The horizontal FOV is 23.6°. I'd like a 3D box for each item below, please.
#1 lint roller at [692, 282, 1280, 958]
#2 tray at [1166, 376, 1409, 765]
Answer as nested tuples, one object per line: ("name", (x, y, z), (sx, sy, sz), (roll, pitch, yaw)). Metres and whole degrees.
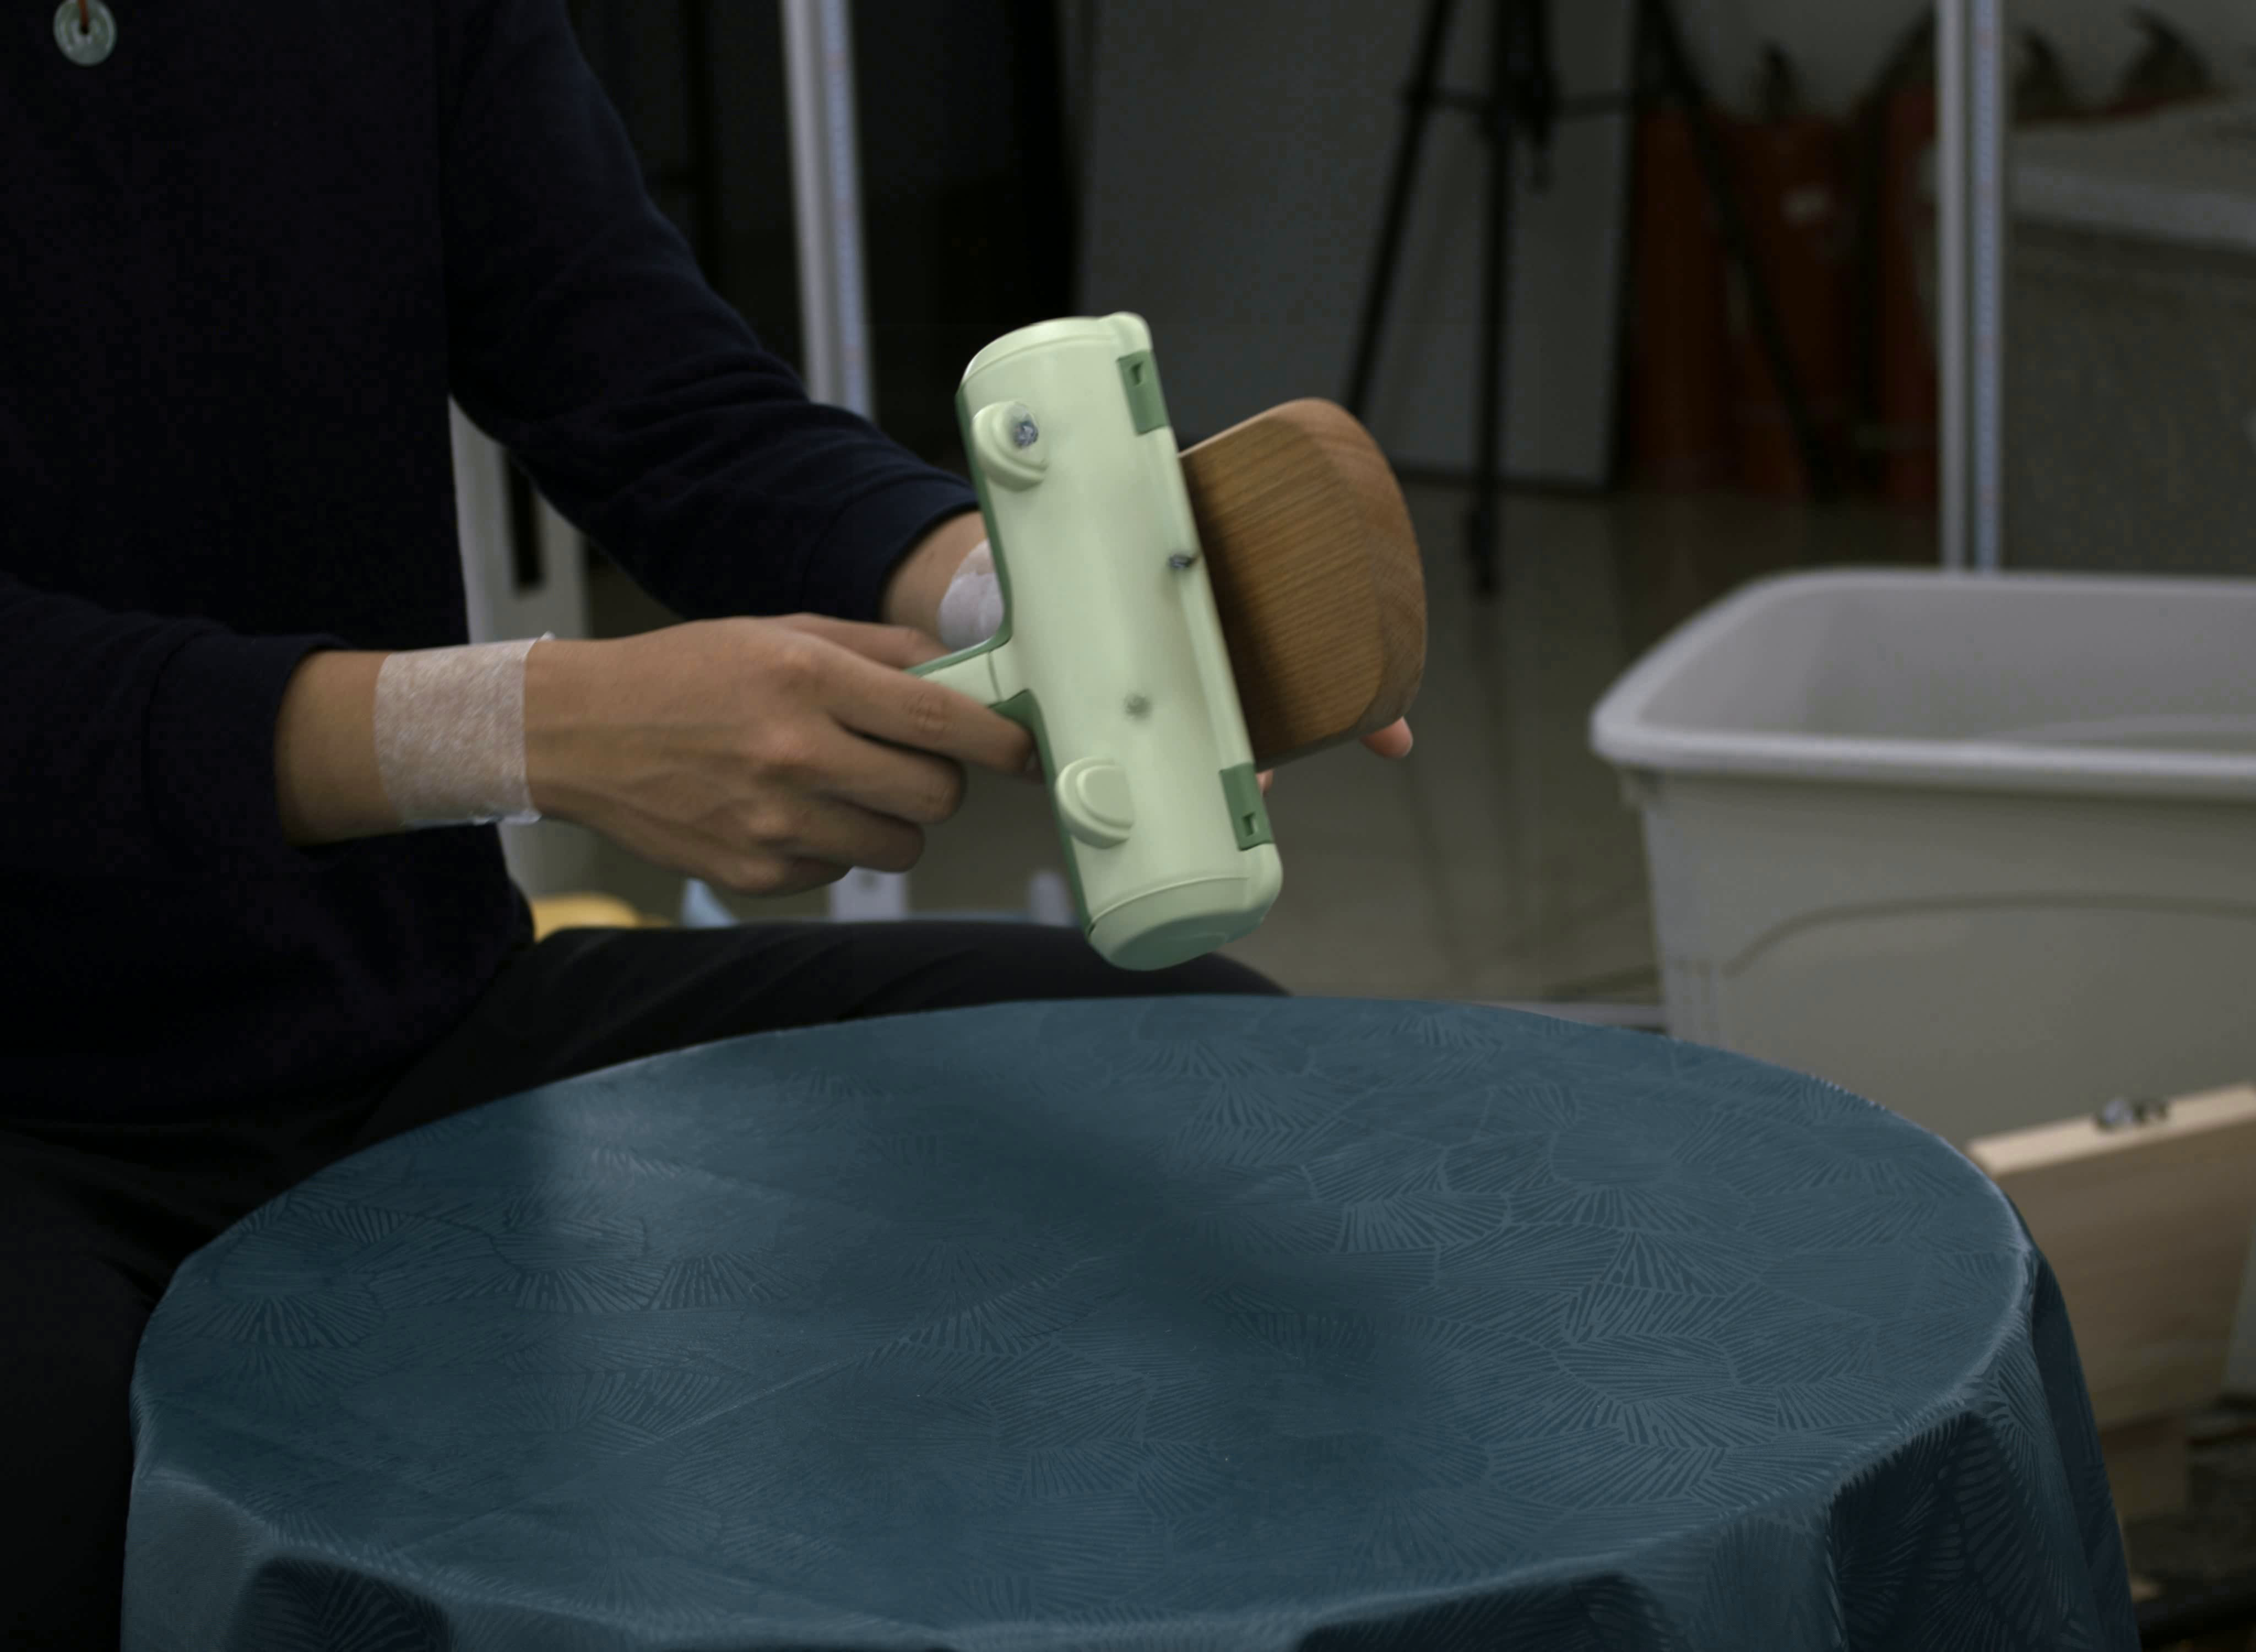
("lint roller", (-0.059, -0.046, 1.603), (0.183, 0.201, 0.081), (-19, -20, 15))
("tray", (0.025, -0.069, 1.621), (0.020, 0.103, 0.233), (-12, -3, -25))
